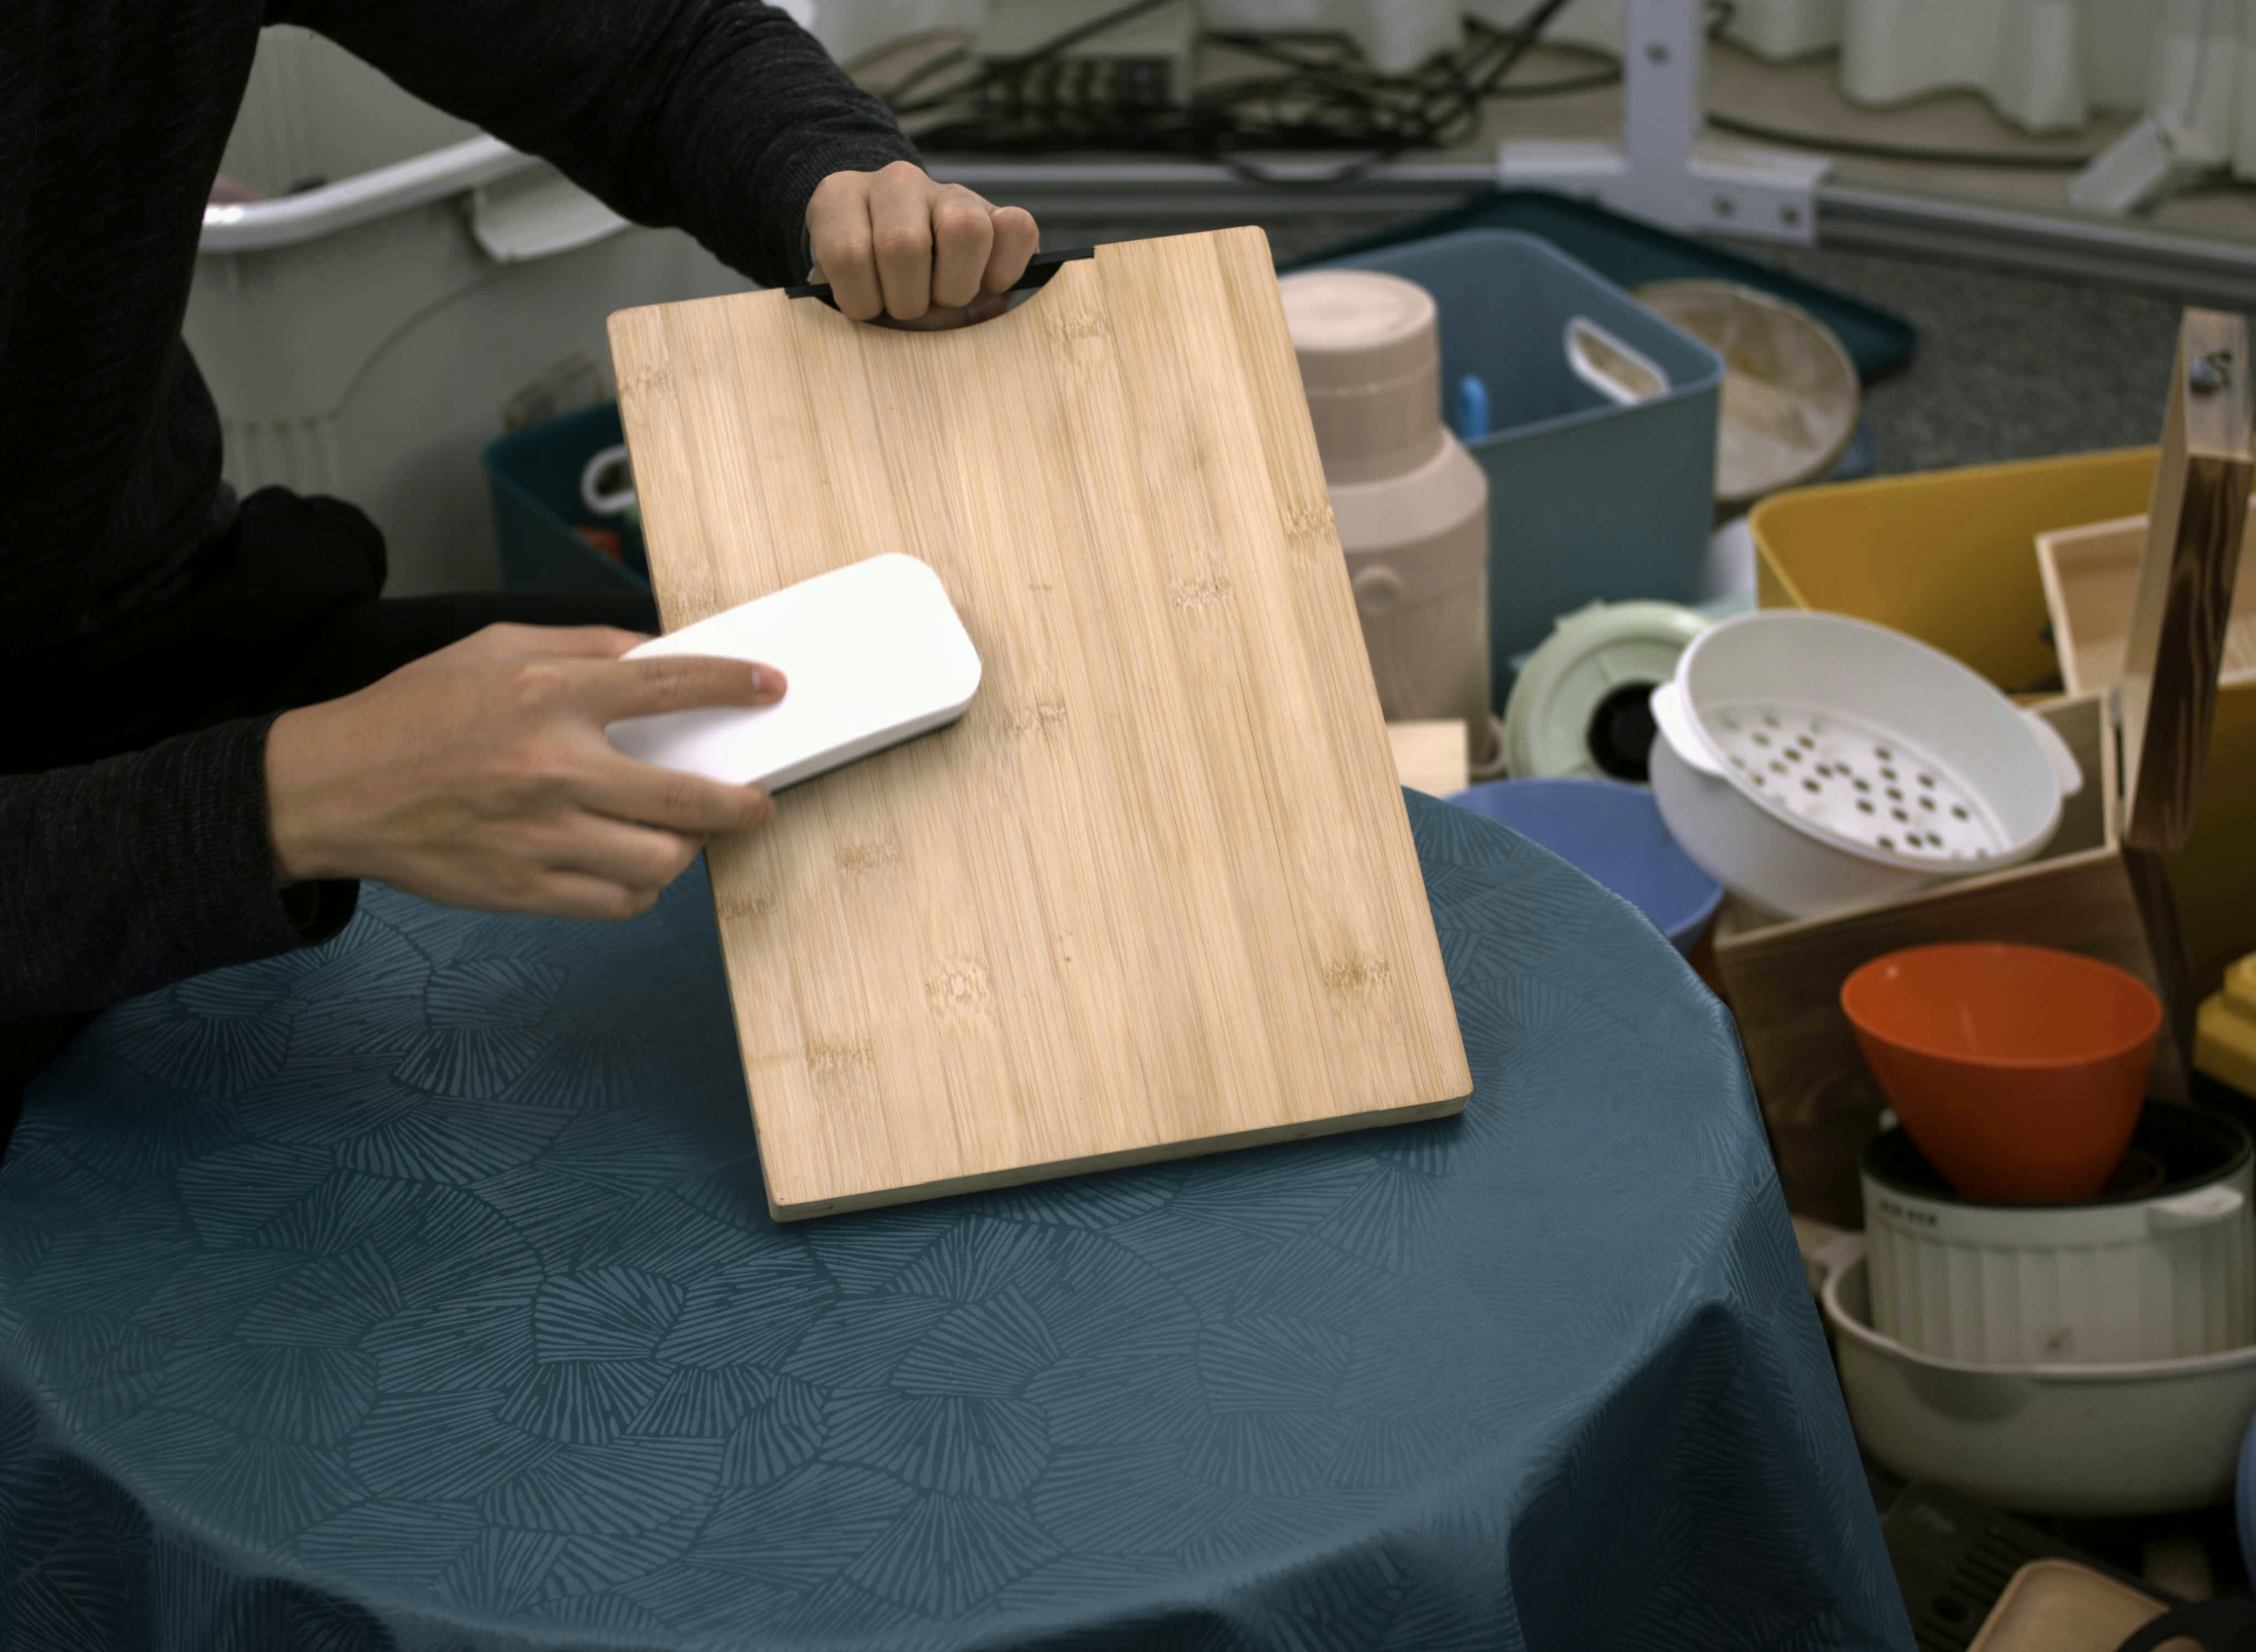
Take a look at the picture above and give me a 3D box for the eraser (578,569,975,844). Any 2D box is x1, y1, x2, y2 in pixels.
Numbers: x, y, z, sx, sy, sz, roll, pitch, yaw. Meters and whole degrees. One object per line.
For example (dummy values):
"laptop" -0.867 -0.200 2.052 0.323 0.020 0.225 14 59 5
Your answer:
"eraser" -0.119 -0.042 1.901 0.132 0.034 0.064 -20 68 -17

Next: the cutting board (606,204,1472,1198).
"cutting board" -0.035 -0.047 1.941 0.250 0.023 0.354 -9 65 -11
